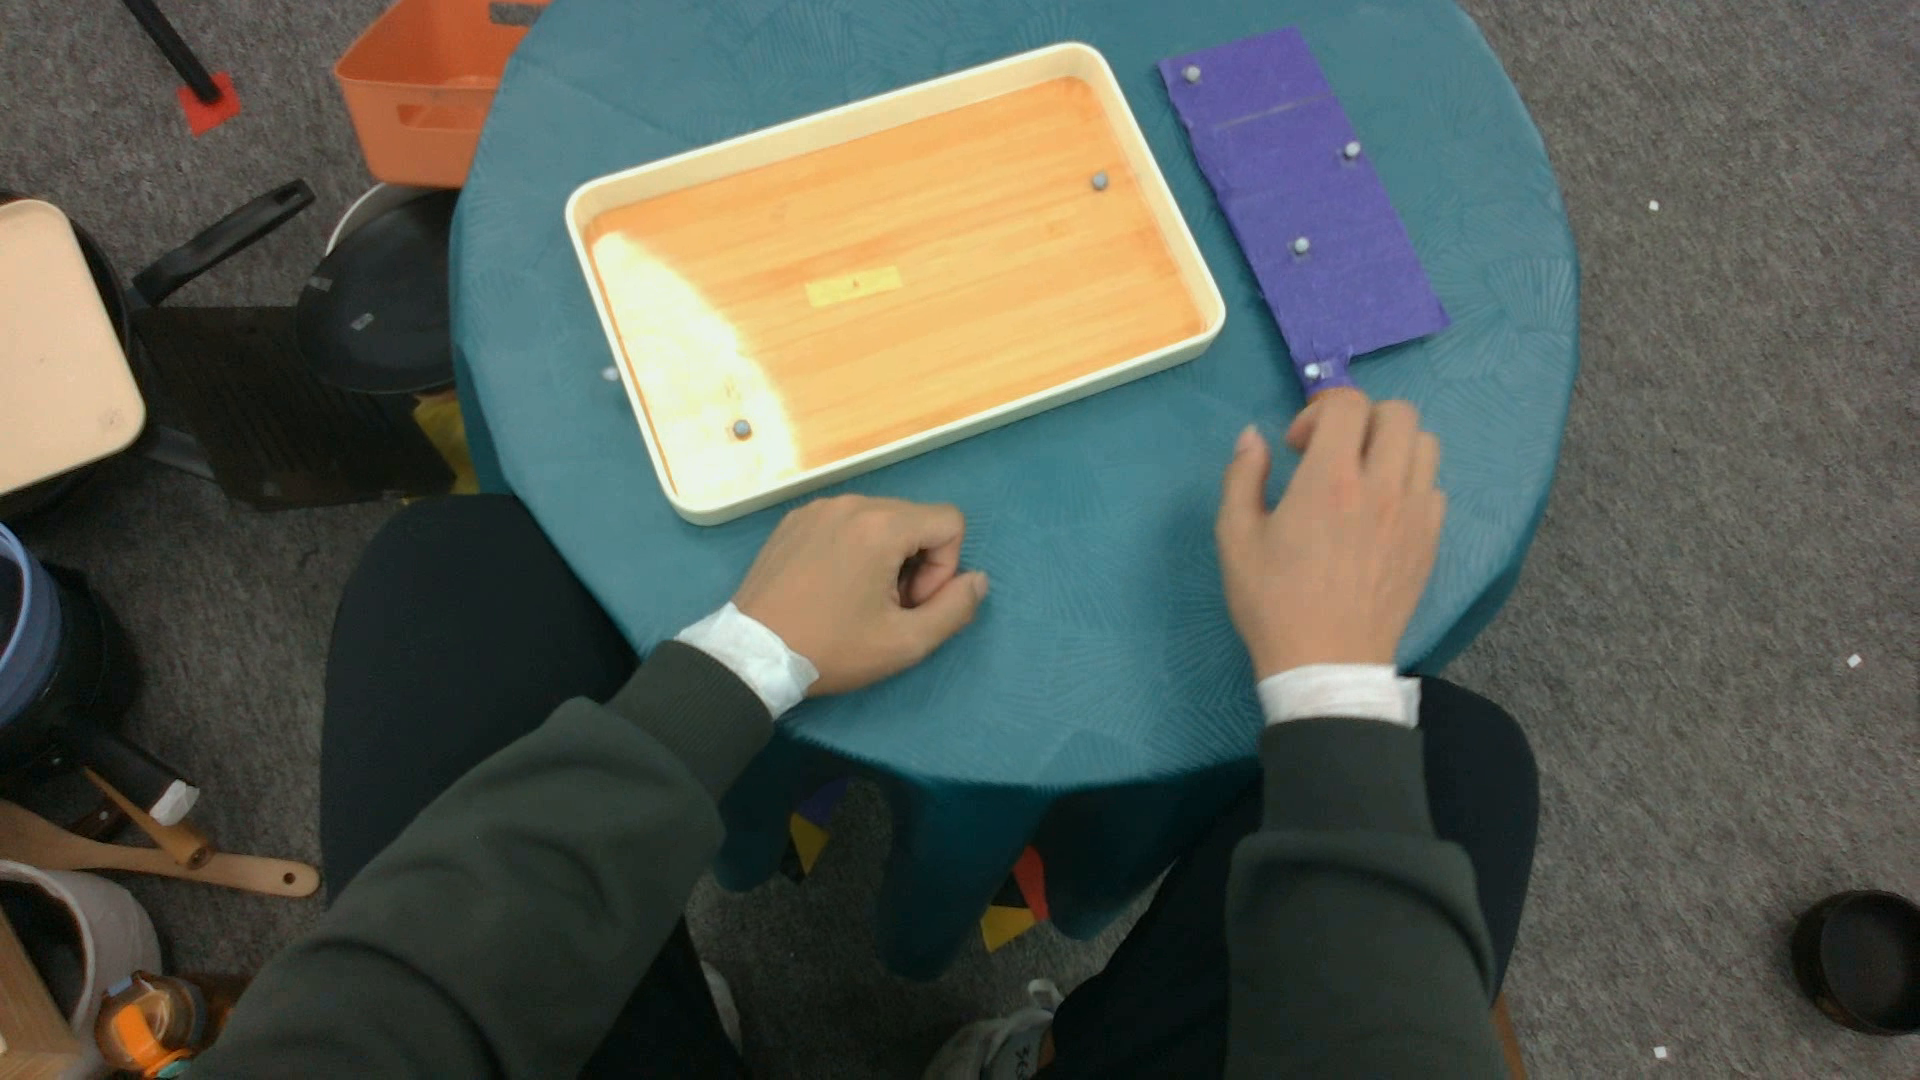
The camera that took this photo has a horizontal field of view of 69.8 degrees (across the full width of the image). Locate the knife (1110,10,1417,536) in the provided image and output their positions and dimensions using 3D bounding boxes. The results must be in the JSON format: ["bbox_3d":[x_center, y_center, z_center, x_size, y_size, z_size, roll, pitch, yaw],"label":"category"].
[{"bbox_3d":[0.186,-0.157,0.737,0.104,0.032,0.316,-18,74,-11],"label":"knife"}]

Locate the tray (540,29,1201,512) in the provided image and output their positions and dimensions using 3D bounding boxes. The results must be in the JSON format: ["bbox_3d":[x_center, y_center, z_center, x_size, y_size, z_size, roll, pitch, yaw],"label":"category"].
[{"bbox_3d":[-0.044,-0.146,0.711,0.301,0.027,0.192,-20,75,-12],"label":"tray"}]
